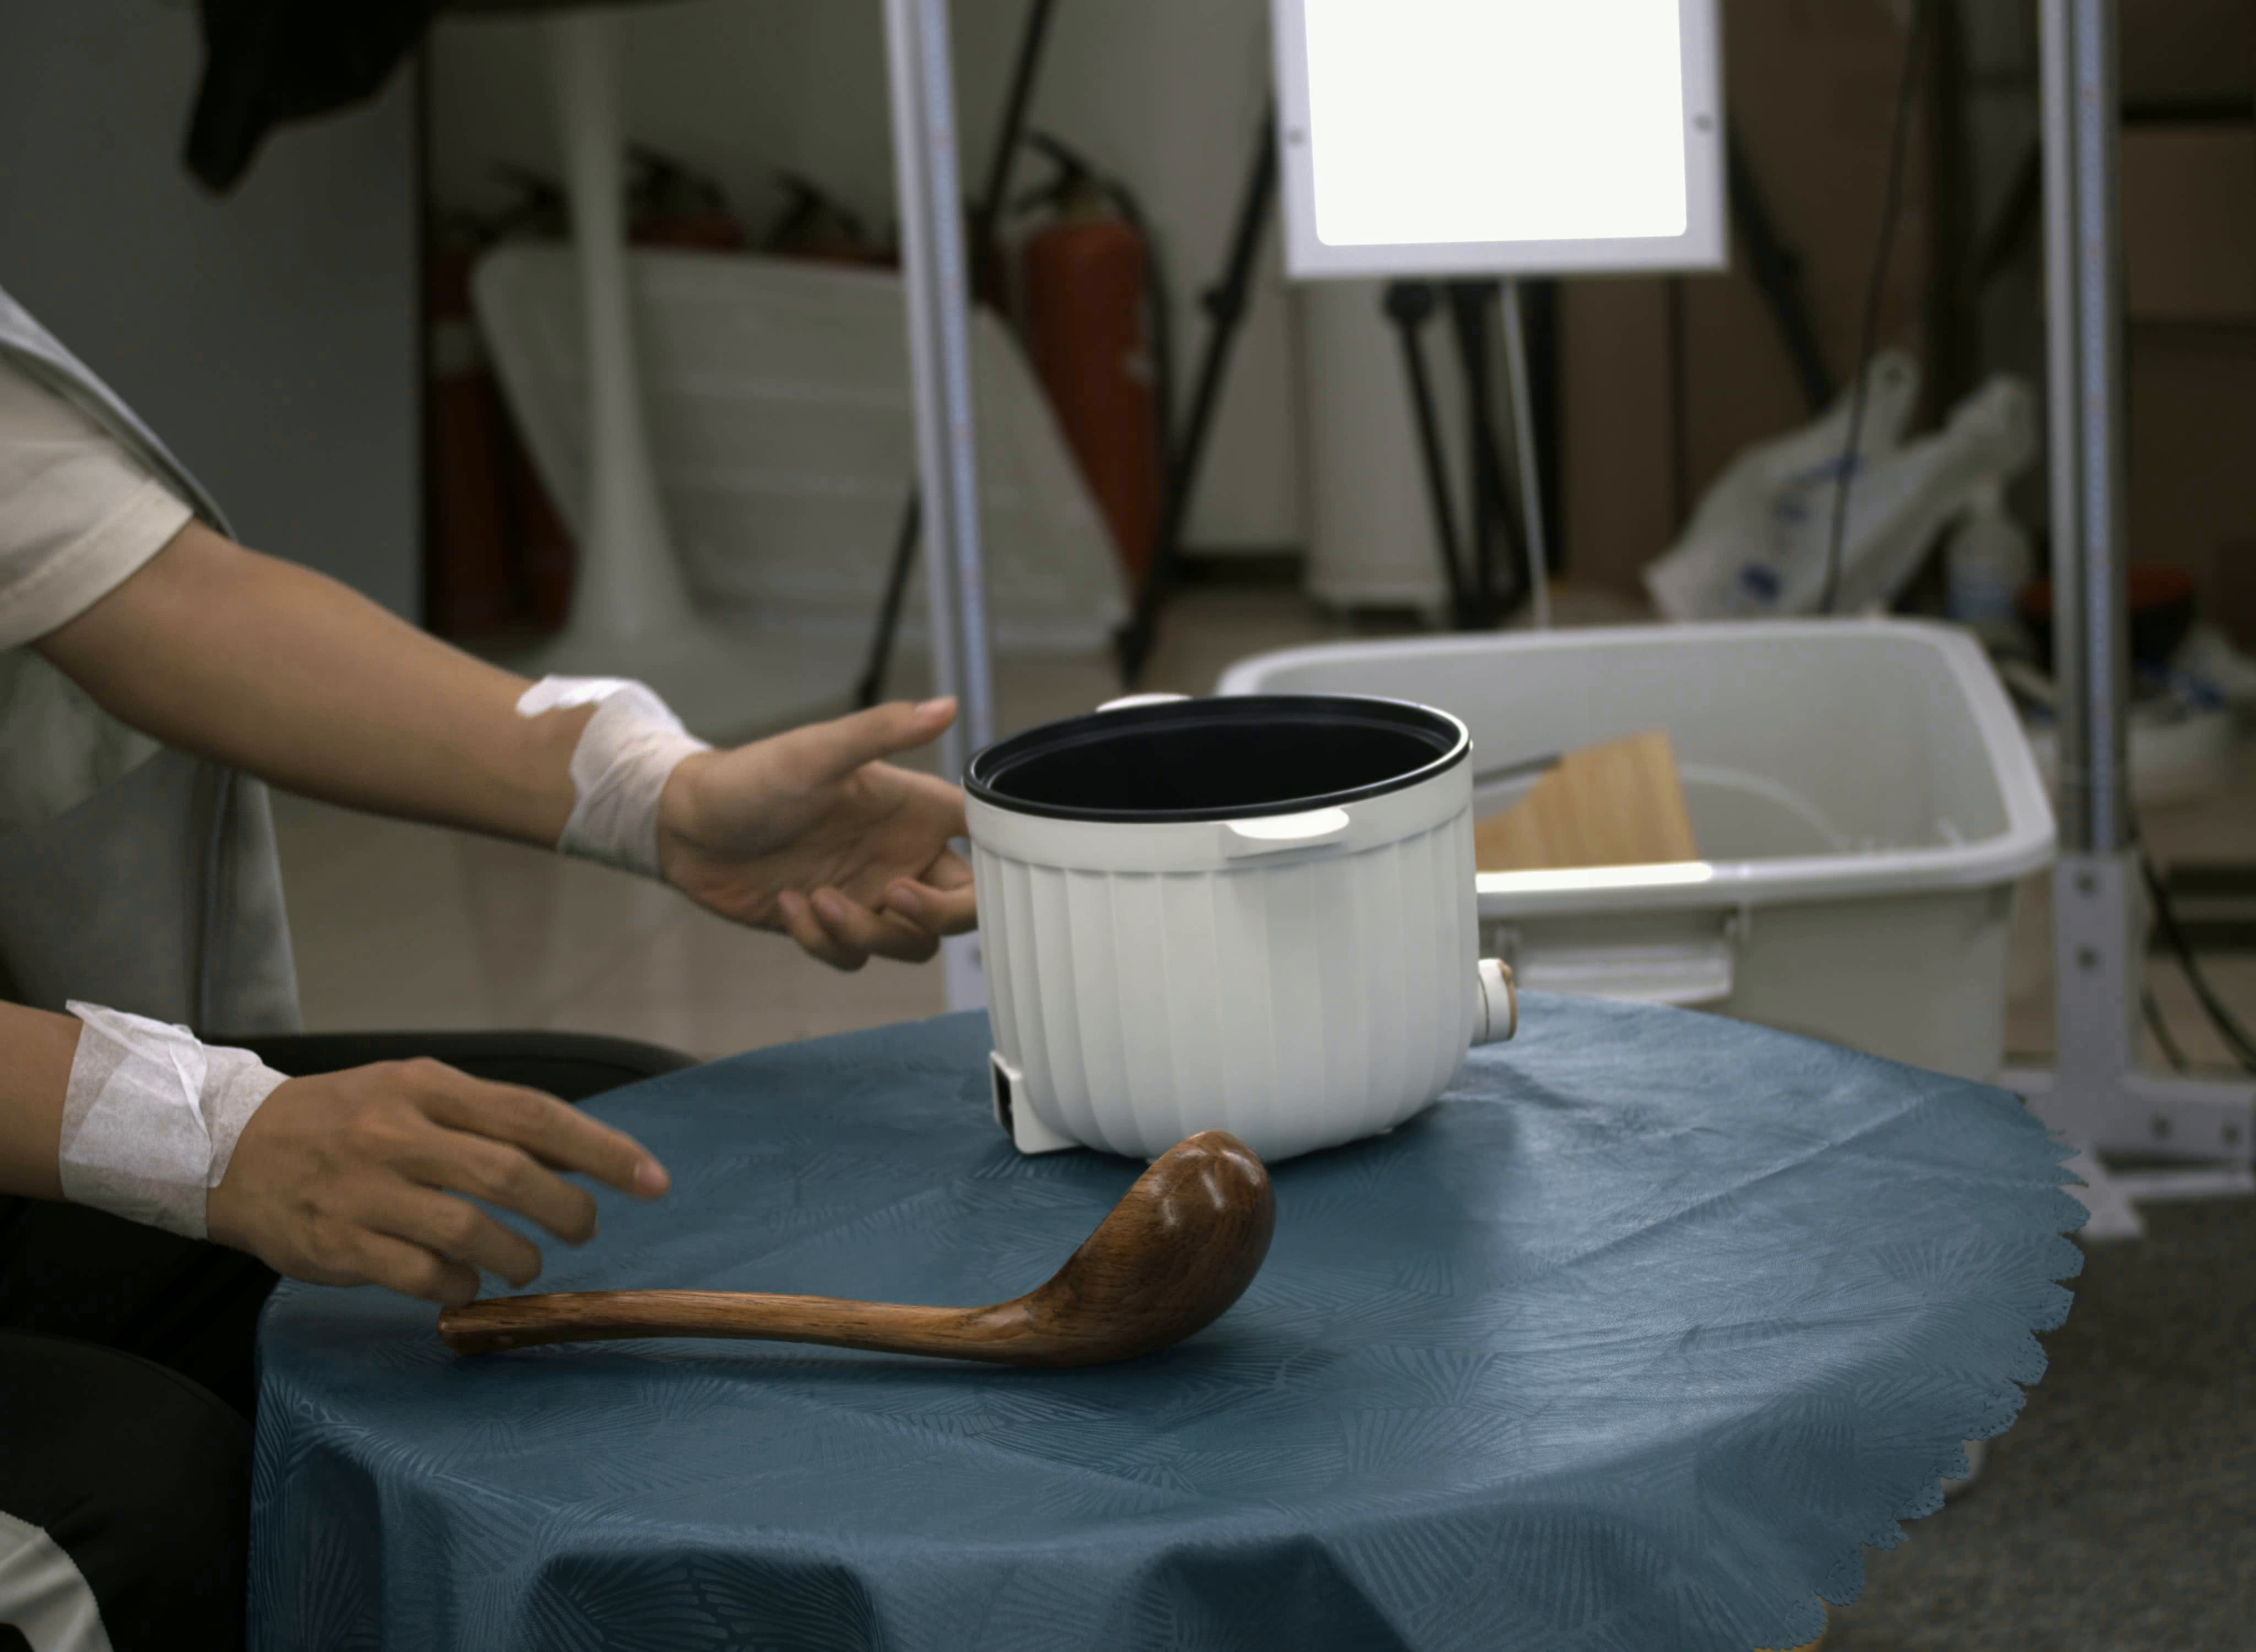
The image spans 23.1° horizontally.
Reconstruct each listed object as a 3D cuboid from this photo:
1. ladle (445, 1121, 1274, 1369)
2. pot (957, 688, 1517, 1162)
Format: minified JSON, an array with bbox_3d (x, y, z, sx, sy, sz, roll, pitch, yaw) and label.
[{"bbox_3d":[-0.087,0.133,1.754,0.278,0.076,0.081,-2,-27,21],"label":"ladle"},{"bbox_3d":[0.041,0.036,1.959,0.188,0.143,0.242,-11,16,-11],"label":"pot"}]
